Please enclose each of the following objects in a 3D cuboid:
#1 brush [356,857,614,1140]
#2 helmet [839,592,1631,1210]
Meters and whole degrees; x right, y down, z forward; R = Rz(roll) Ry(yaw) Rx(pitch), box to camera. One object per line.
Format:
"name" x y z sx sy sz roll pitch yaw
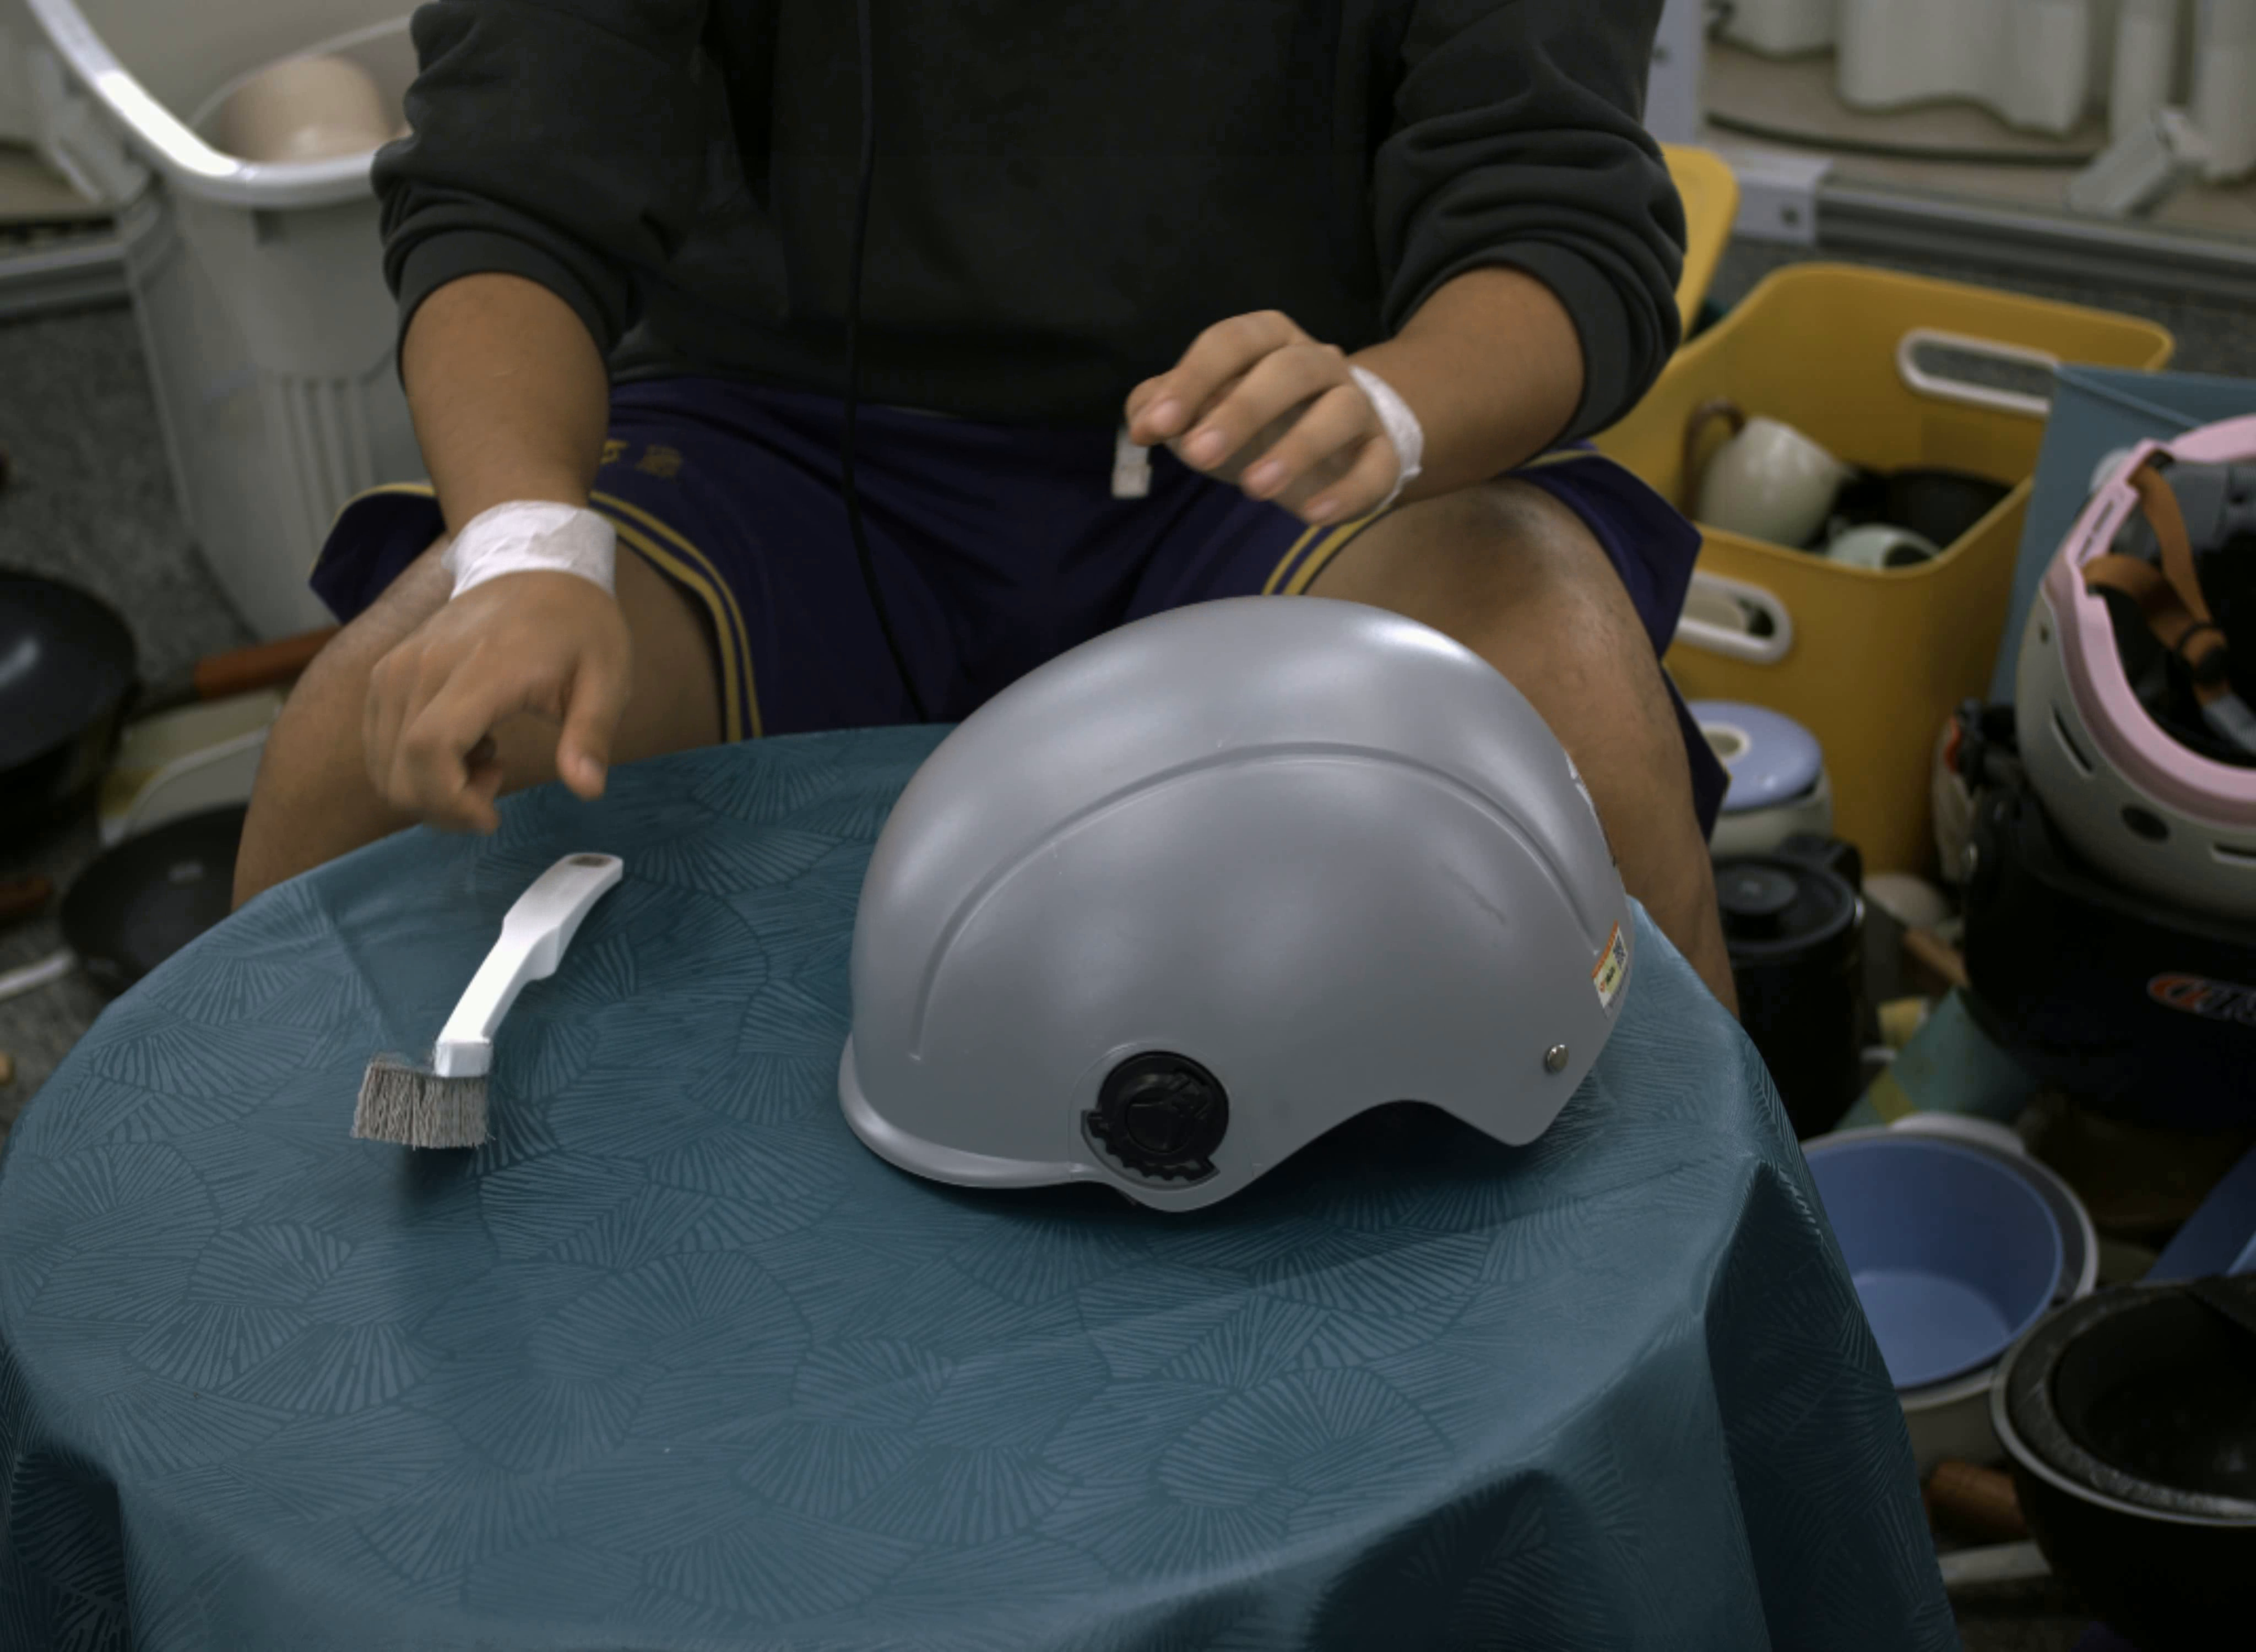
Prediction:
"brush" -0.221 0.064 1.971 0.034 0.050 0.246 5 15 9
"helmet" 0.030 0.010 1.900 0.275 0.167 0.235 -7 27 -3
